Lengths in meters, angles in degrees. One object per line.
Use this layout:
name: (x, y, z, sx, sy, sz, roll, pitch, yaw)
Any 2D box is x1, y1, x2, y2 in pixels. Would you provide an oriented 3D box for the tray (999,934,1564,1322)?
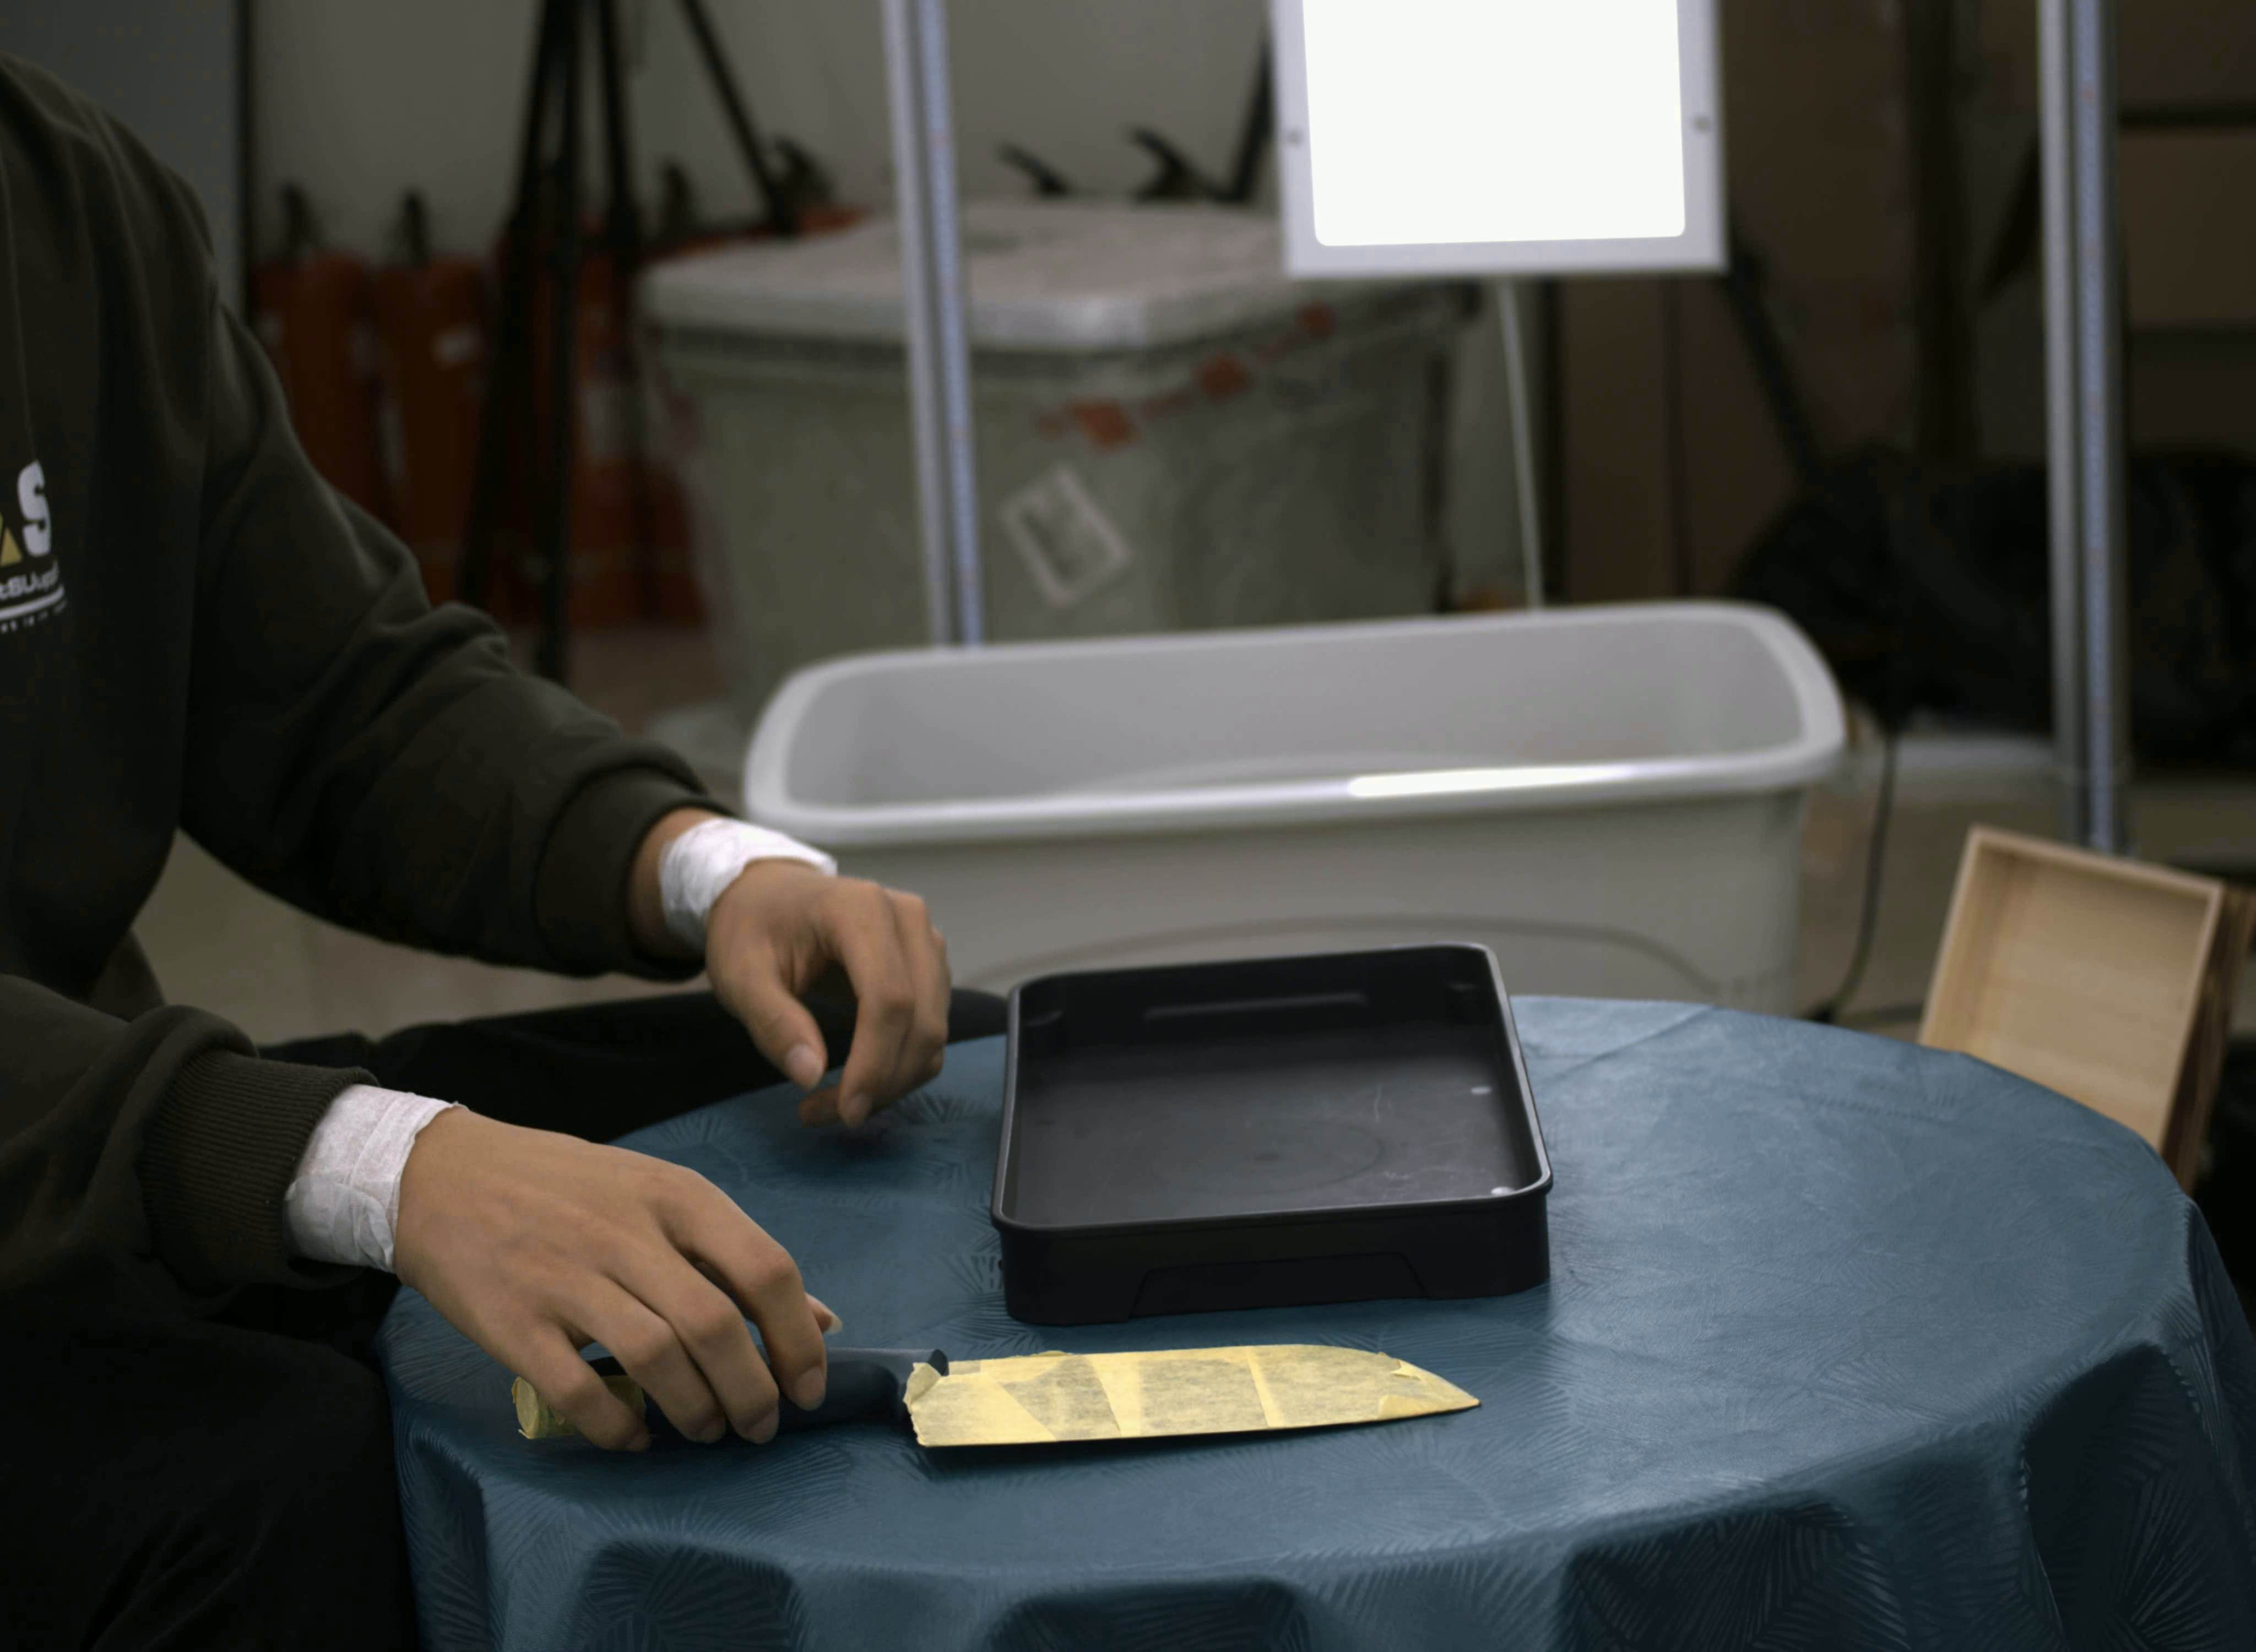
tray: (0.048, 0.101, 1.916, 0.184, 0.037, 0.317, -6, 14, 1)

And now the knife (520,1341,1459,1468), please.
knife: (-0.042, 0.177, 1.681, 0.289, 0.027, 0.081, -4, 12, 1)
